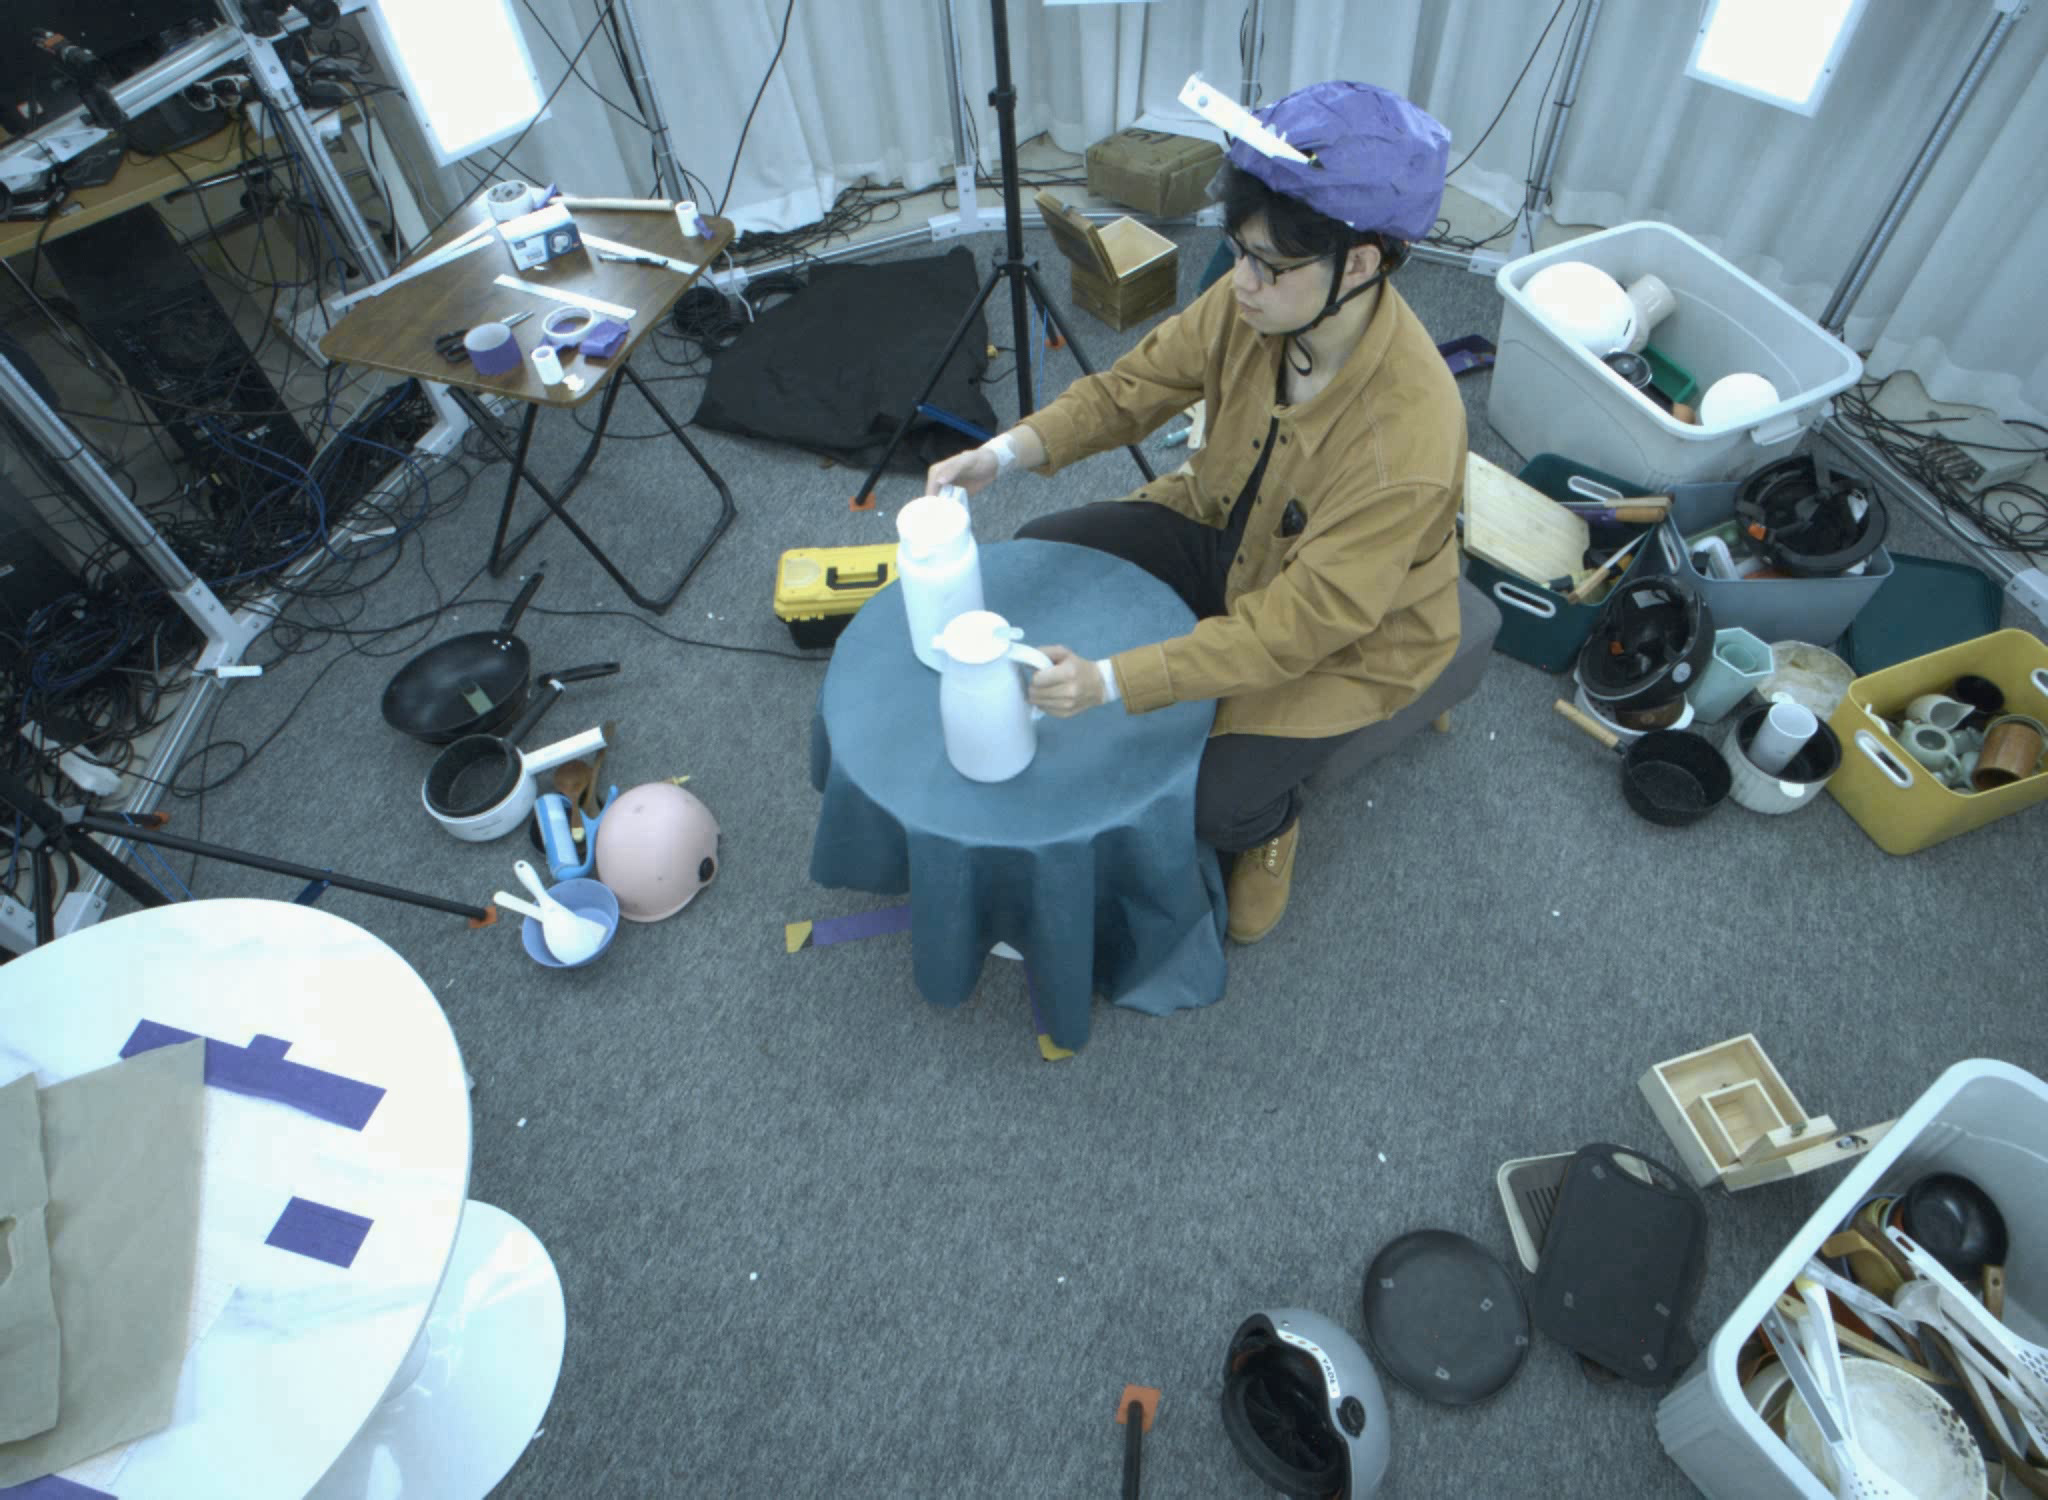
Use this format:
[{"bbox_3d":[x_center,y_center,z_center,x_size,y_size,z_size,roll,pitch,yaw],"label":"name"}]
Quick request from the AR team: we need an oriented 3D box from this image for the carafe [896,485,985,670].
[{"bbox_3d":[-0.119,-0.256,1.805,0.123,0.272,0.172,10,55,12],"label":"carafe"}]

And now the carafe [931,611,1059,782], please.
[{"bbox_3d":[-0.036,-0.079,1.687,0.167,0.251,0.131,2,55,4],"label":"carafe"}]
